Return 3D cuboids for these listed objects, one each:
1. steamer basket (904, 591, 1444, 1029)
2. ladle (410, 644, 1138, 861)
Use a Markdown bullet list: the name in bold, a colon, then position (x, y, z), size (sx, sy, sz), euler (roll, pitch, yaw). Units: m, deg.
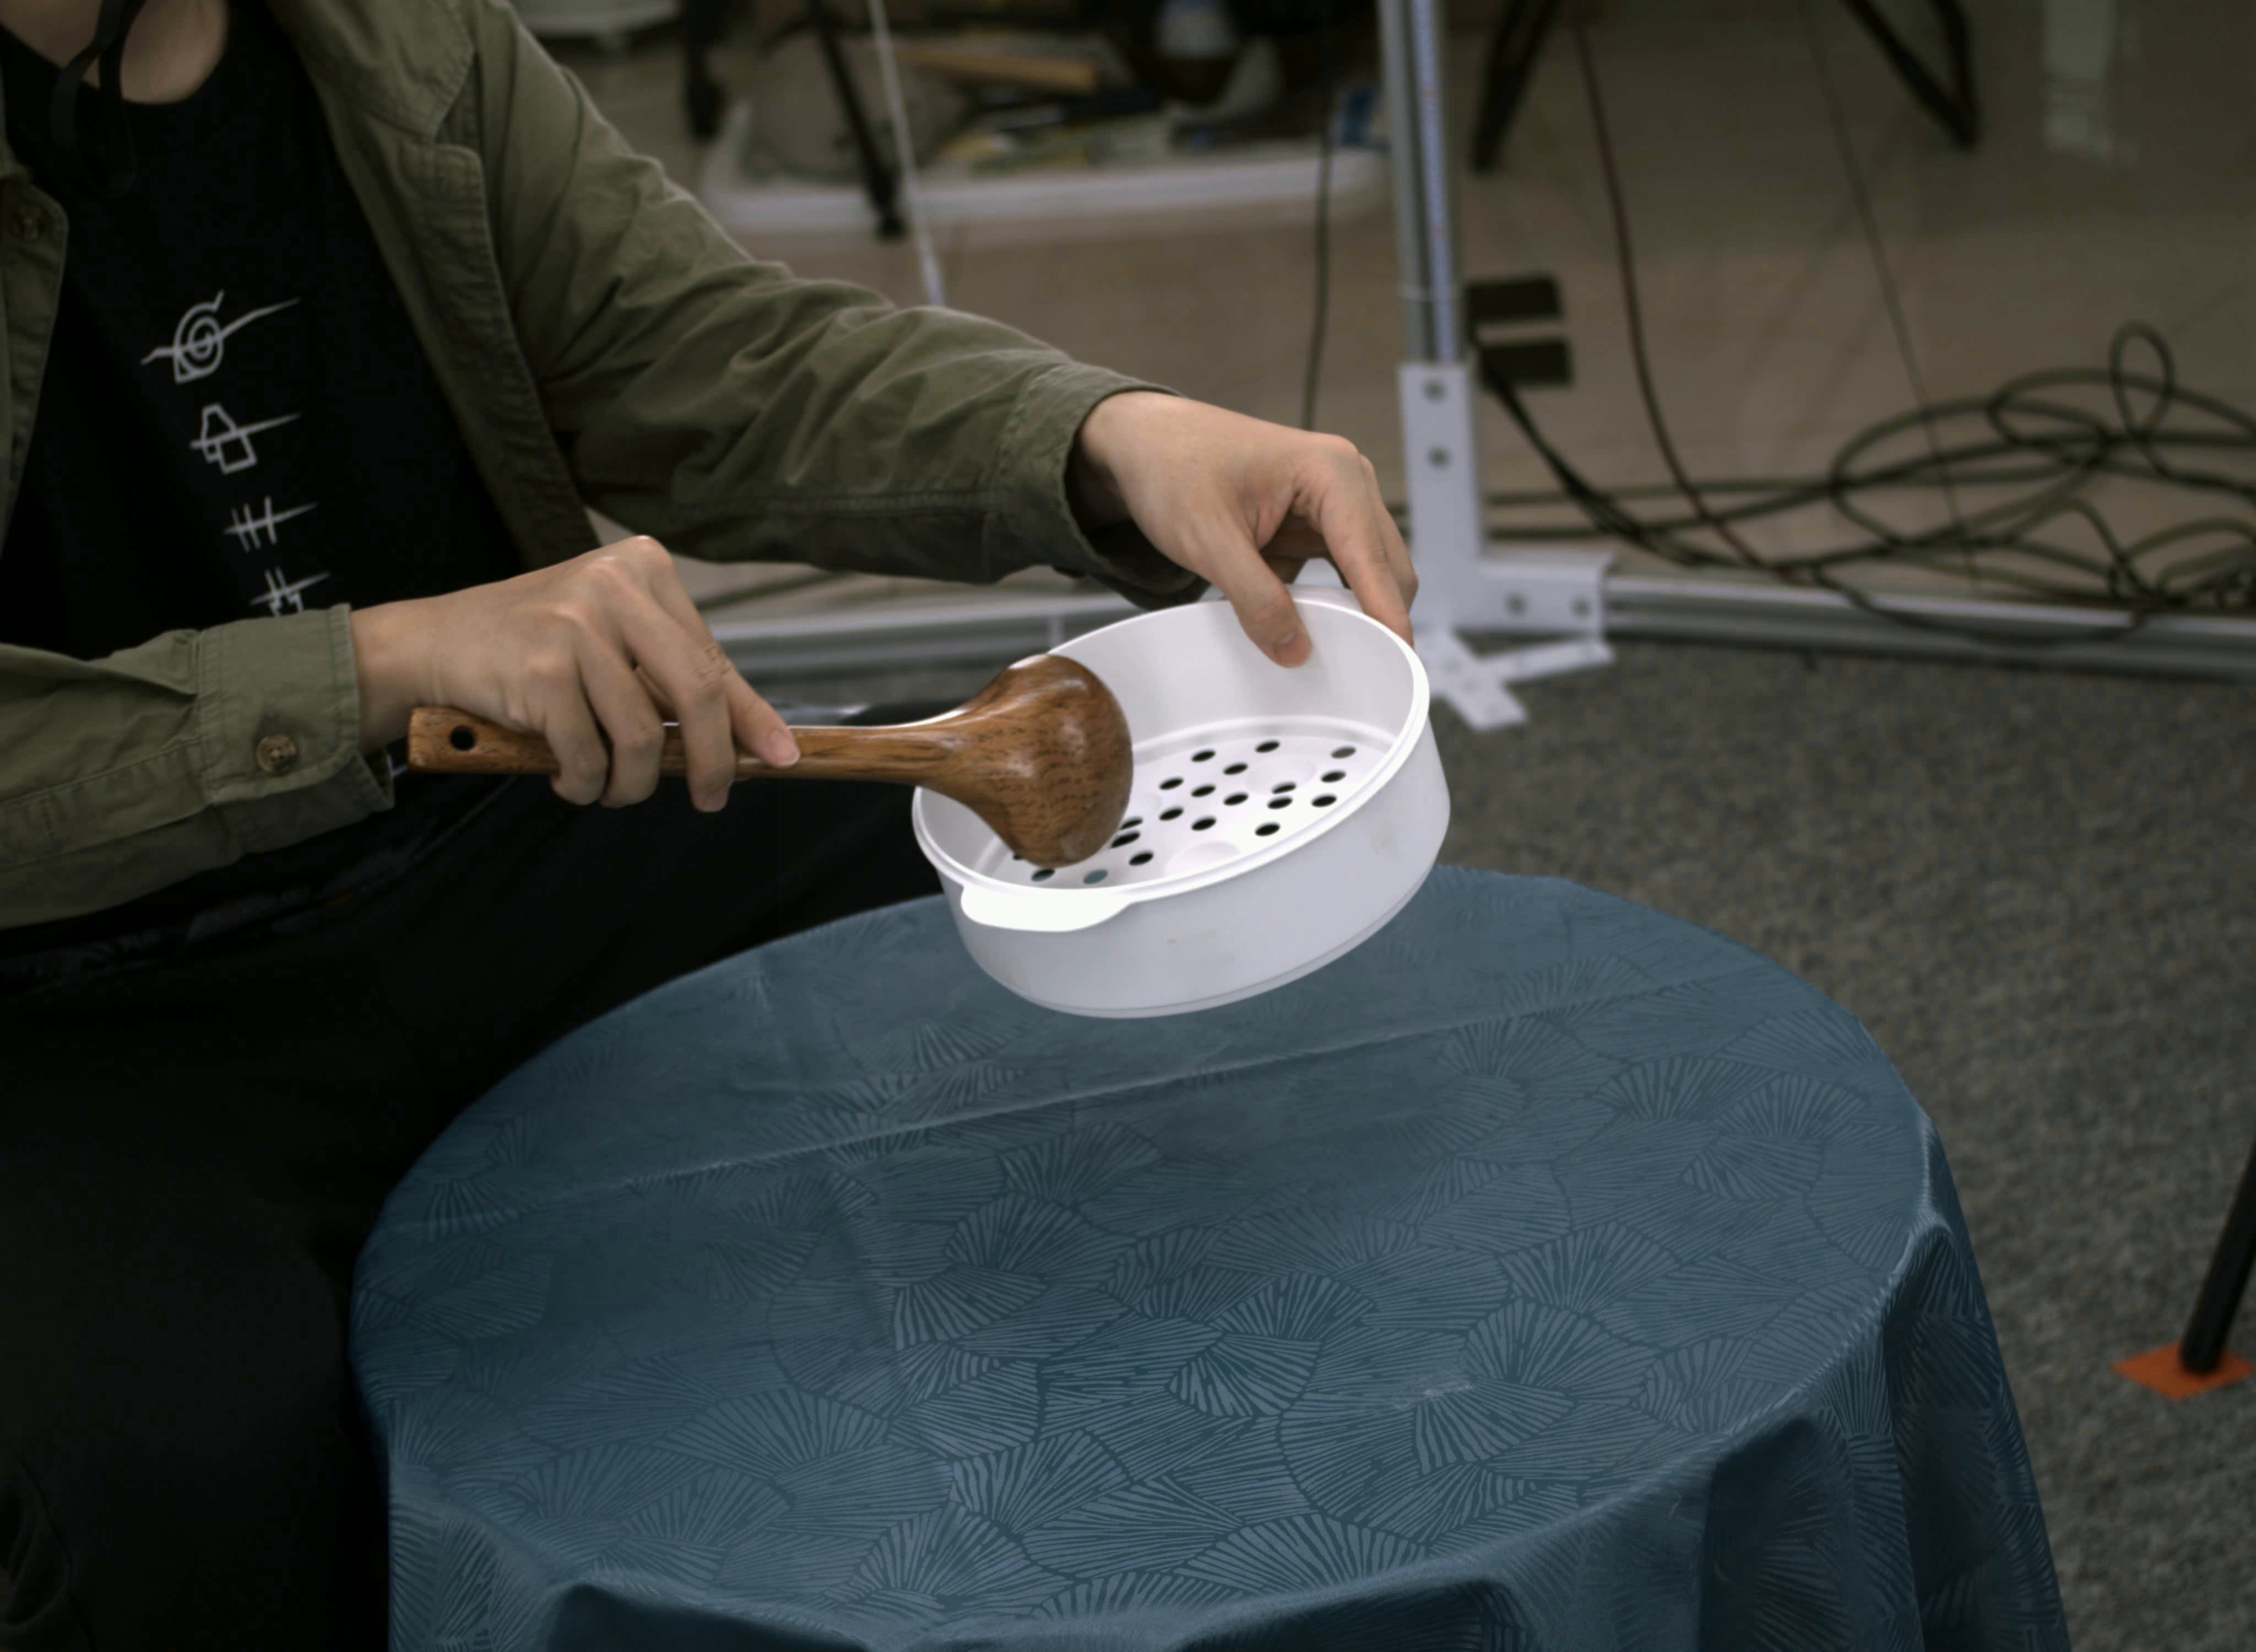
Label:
- **steamer basket**: position (0.020, -0.003, 2.133), size (0.201, 0.070, 0.227), euler (6, 39, 33)
- **ladle**: position (-0.131, -0.030, 2.120), size (0.273, 0.081, 0.077), euler (1, -8, -6)
